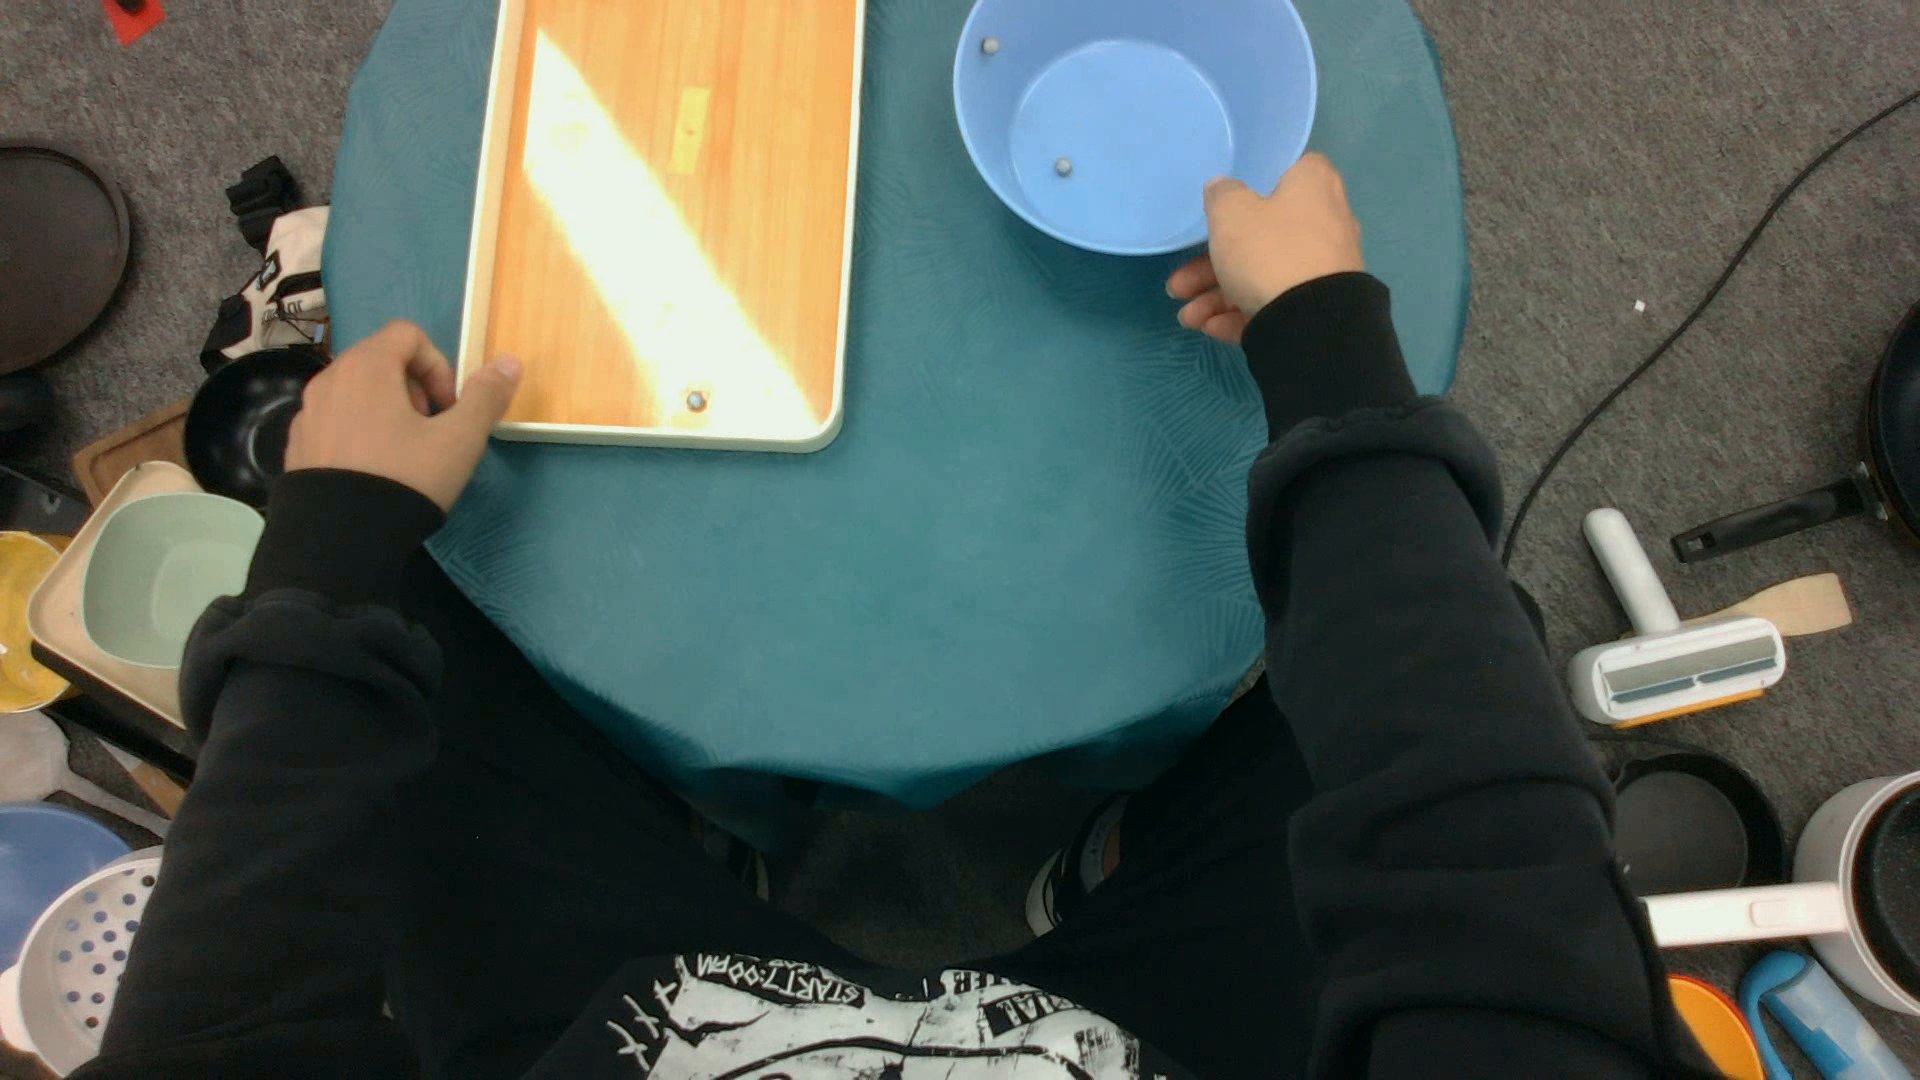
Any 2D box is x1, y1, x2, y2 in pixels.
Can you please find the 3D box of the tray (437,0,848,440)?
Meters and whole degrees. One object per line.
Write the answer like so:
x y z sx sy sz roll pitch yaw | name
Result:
-0.159 -0.201 0.717 0.191 0.027 0.301 2 78 0 | tray

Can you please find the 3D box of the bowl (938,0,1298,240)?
0.077 -0.221 0.701 0.176 0.070 0.176 0 77 0 | bowl
